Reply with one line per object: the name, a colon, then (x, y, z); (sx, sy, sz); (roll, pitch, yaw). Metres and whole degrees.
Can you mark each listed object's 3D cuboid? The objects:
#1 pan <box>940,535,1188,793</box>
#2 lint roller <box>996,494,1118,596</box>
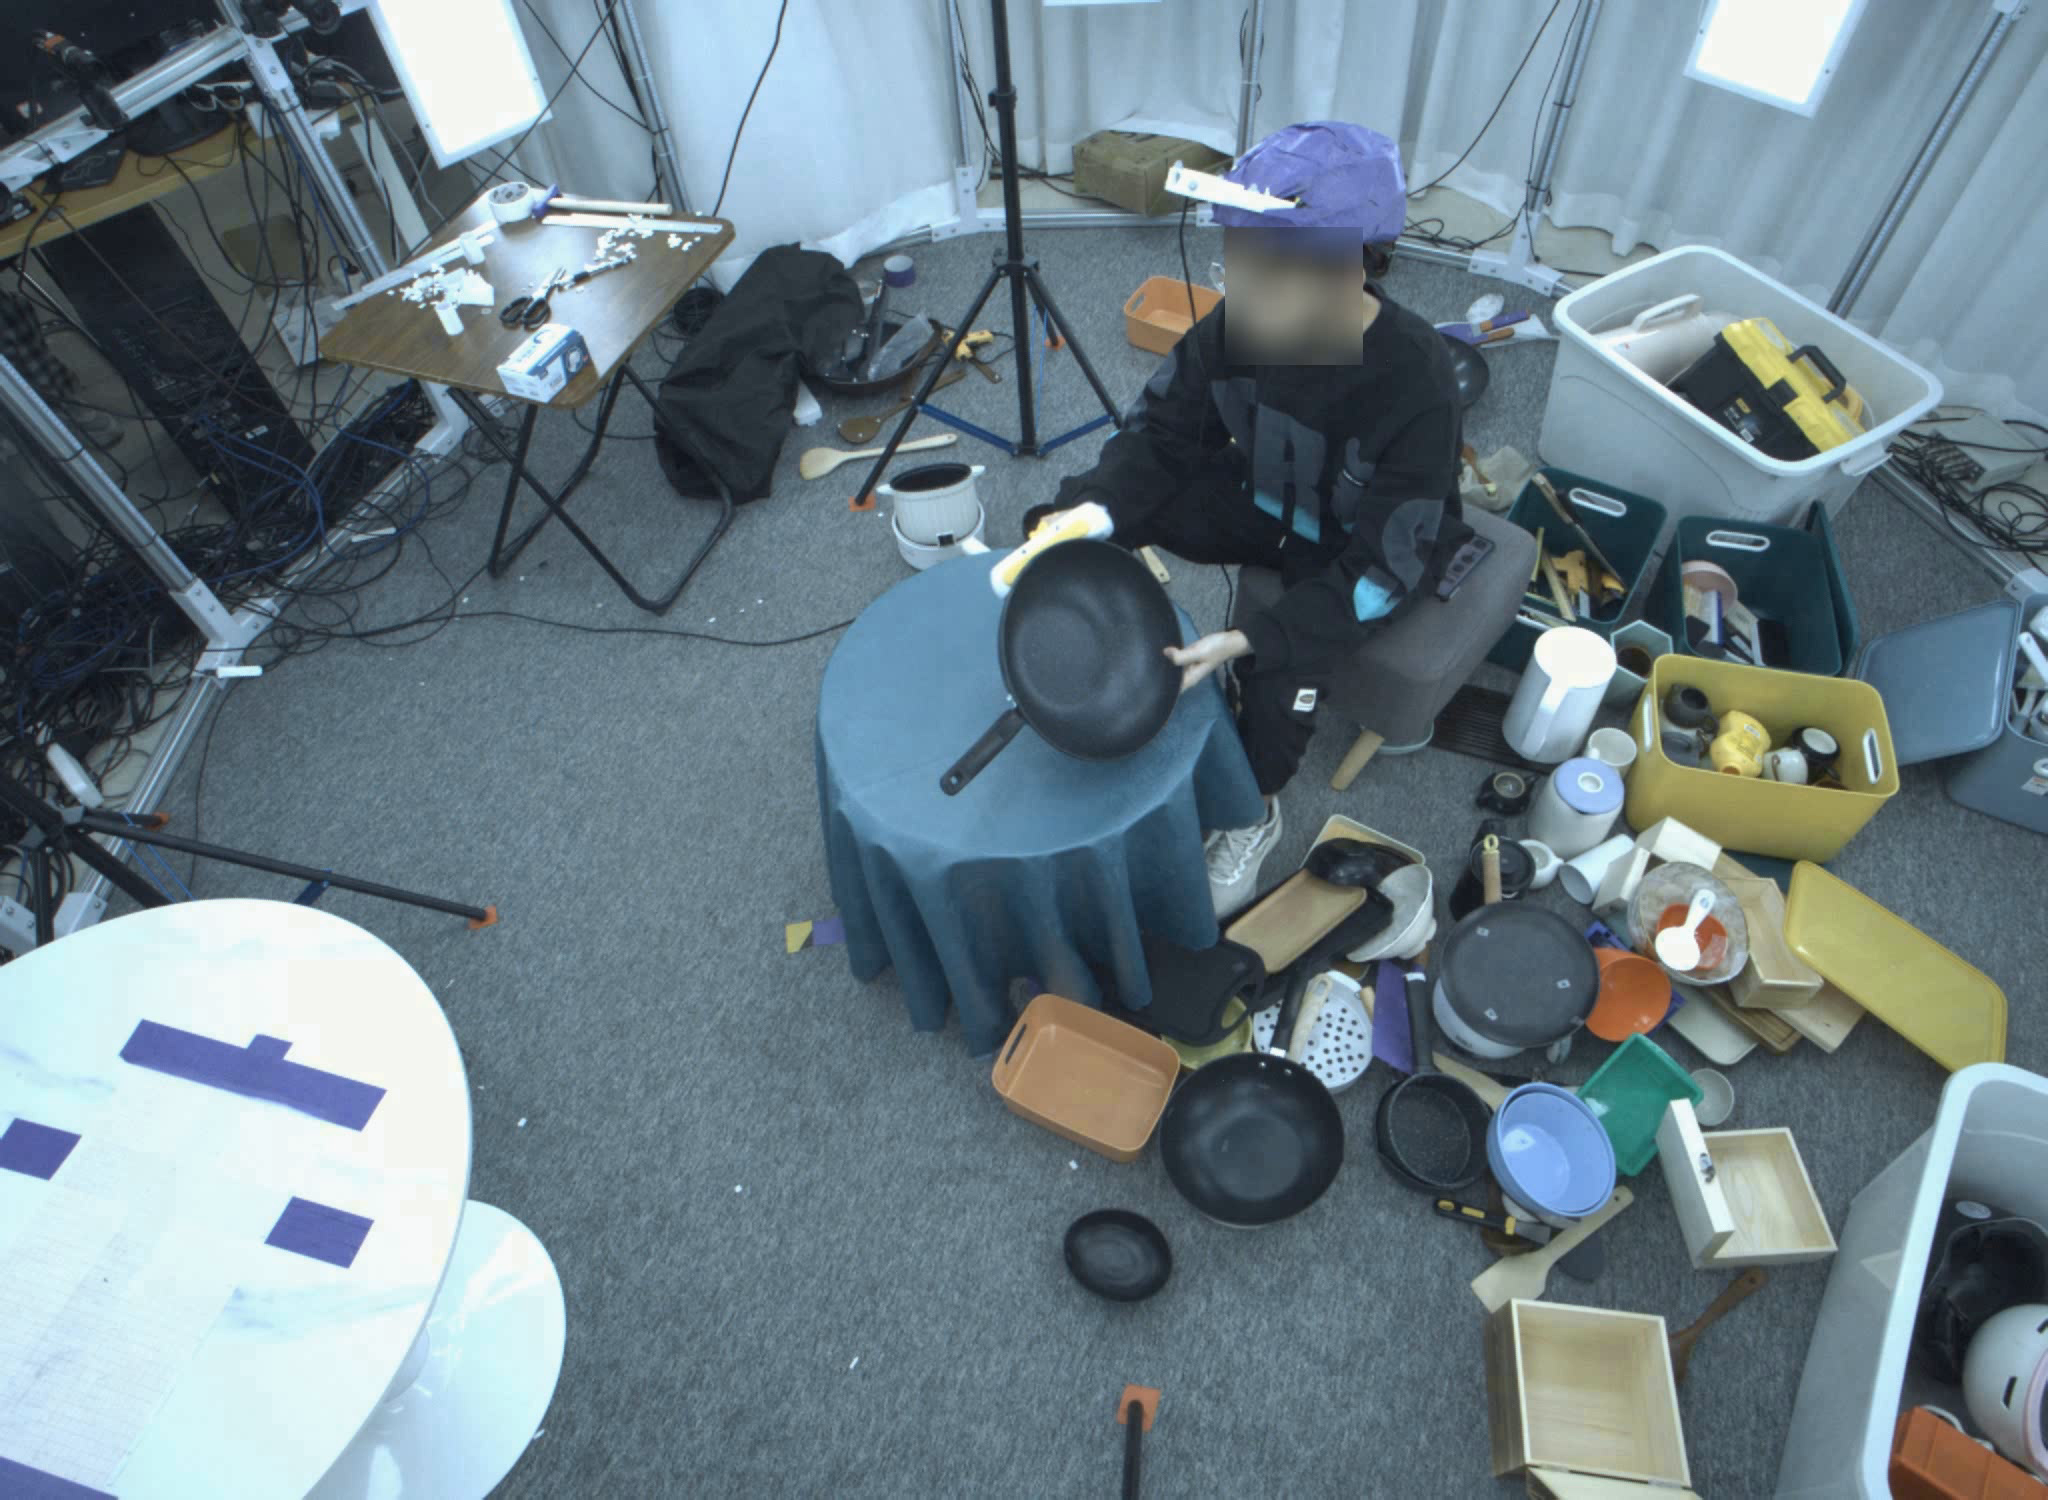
pan: (0.032, -0.090, 1.656); (0.480, 0.109, 0.313); (-43, 108, -29)
lint roller: (0.049, -0.297, 1.777); (0.192, 0.193, 0.074); (-40, 88, 11)
